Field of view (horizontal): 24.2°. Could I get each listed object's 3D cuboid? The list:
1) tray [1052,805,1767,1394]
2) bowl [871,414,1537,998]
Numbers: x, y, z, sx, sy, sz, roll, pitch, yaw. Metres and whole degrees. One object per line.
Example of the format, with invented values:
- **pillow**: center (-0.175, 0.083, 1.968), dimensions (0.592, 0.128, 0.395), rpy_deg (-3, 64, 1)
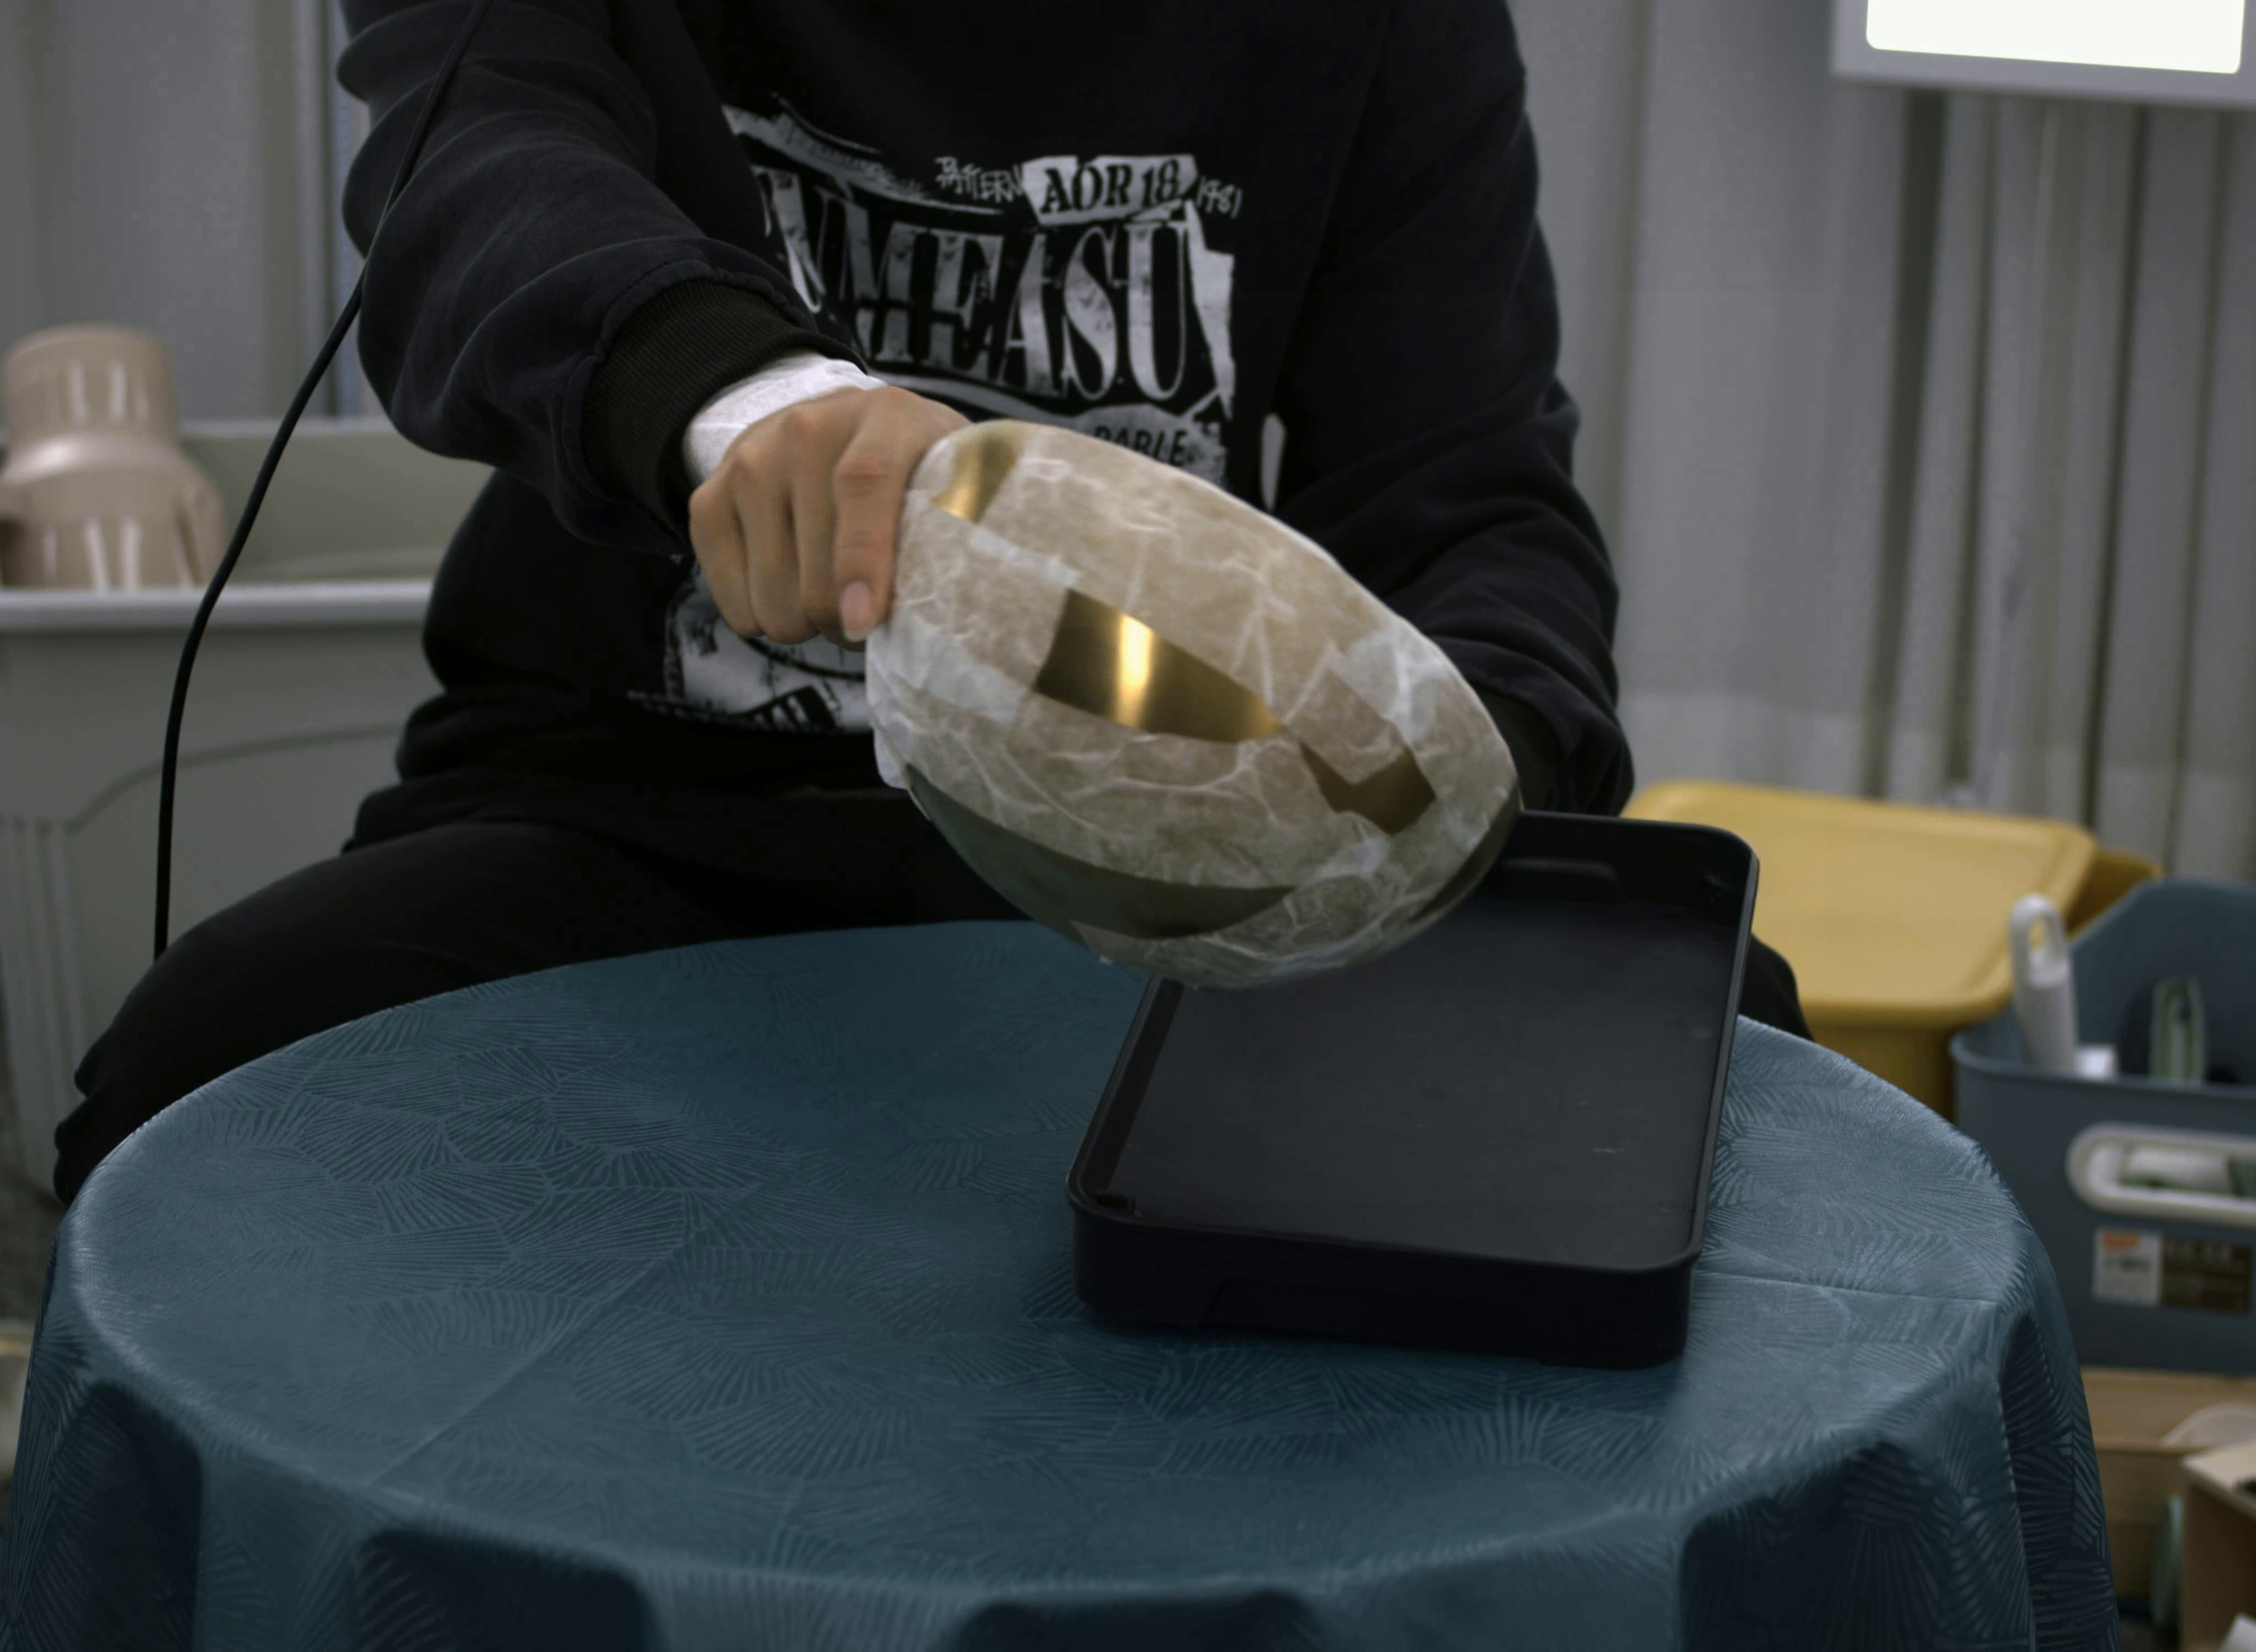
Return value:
- **tray**: center (0.094, 0.073, 1.627), dimensions (0.183, 0.037, 0.316), rpy_deg (7, 26, 9)
- **bowl**: center (0.005, -0.014, 1.485), dimensions (0.212, 0.218, 0.094), rpy_deg (15, 64, 40)
